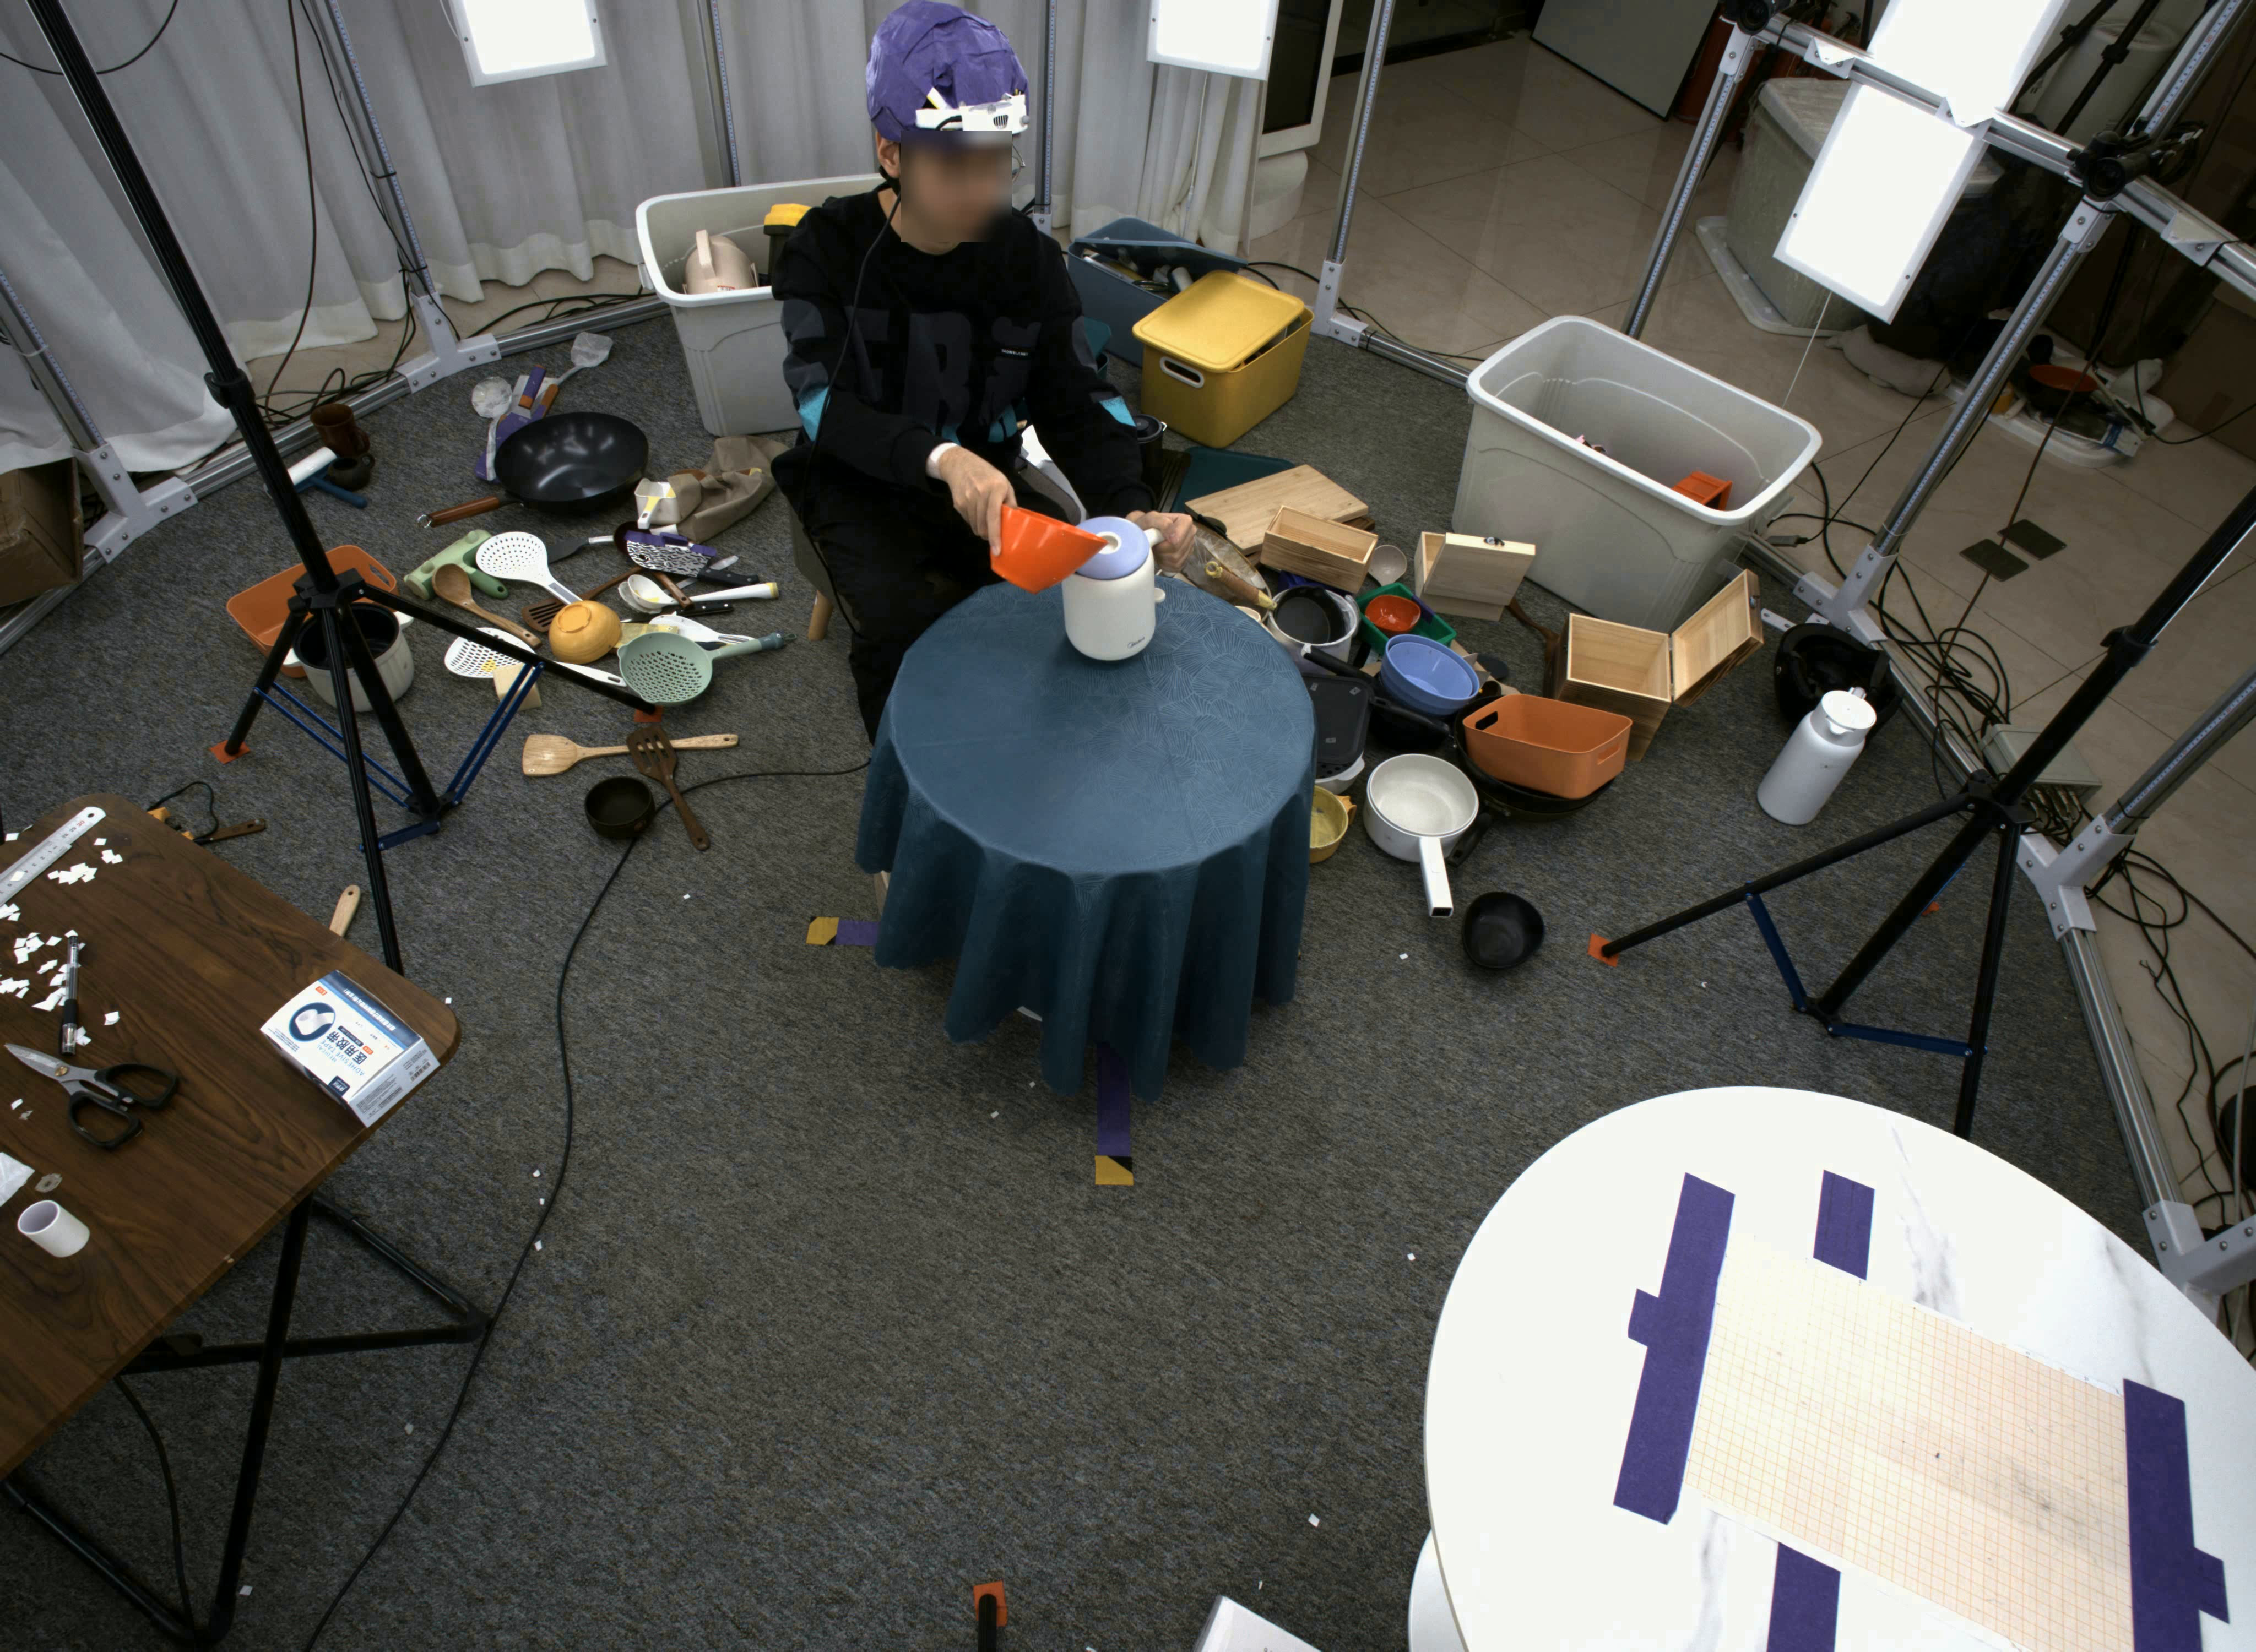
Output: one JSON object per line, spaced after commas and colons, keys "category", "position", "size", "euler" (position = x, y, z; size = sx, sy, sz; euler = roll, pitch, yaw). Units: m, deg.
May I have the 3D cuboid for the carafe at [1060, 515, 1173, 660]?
{"category": "carafe", "position": [-0.010, -0.349, 1.829], "size": [0.192, 0.178, 0.134], "euler": [-32, 61, -21]}

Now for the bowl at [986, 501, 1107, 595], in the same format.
{"category": "bowl", "position": [-0.116, -0.351, 1.647], "size": [0.147, 0.104, 0.149], "euler": [29, 12, -7]}
